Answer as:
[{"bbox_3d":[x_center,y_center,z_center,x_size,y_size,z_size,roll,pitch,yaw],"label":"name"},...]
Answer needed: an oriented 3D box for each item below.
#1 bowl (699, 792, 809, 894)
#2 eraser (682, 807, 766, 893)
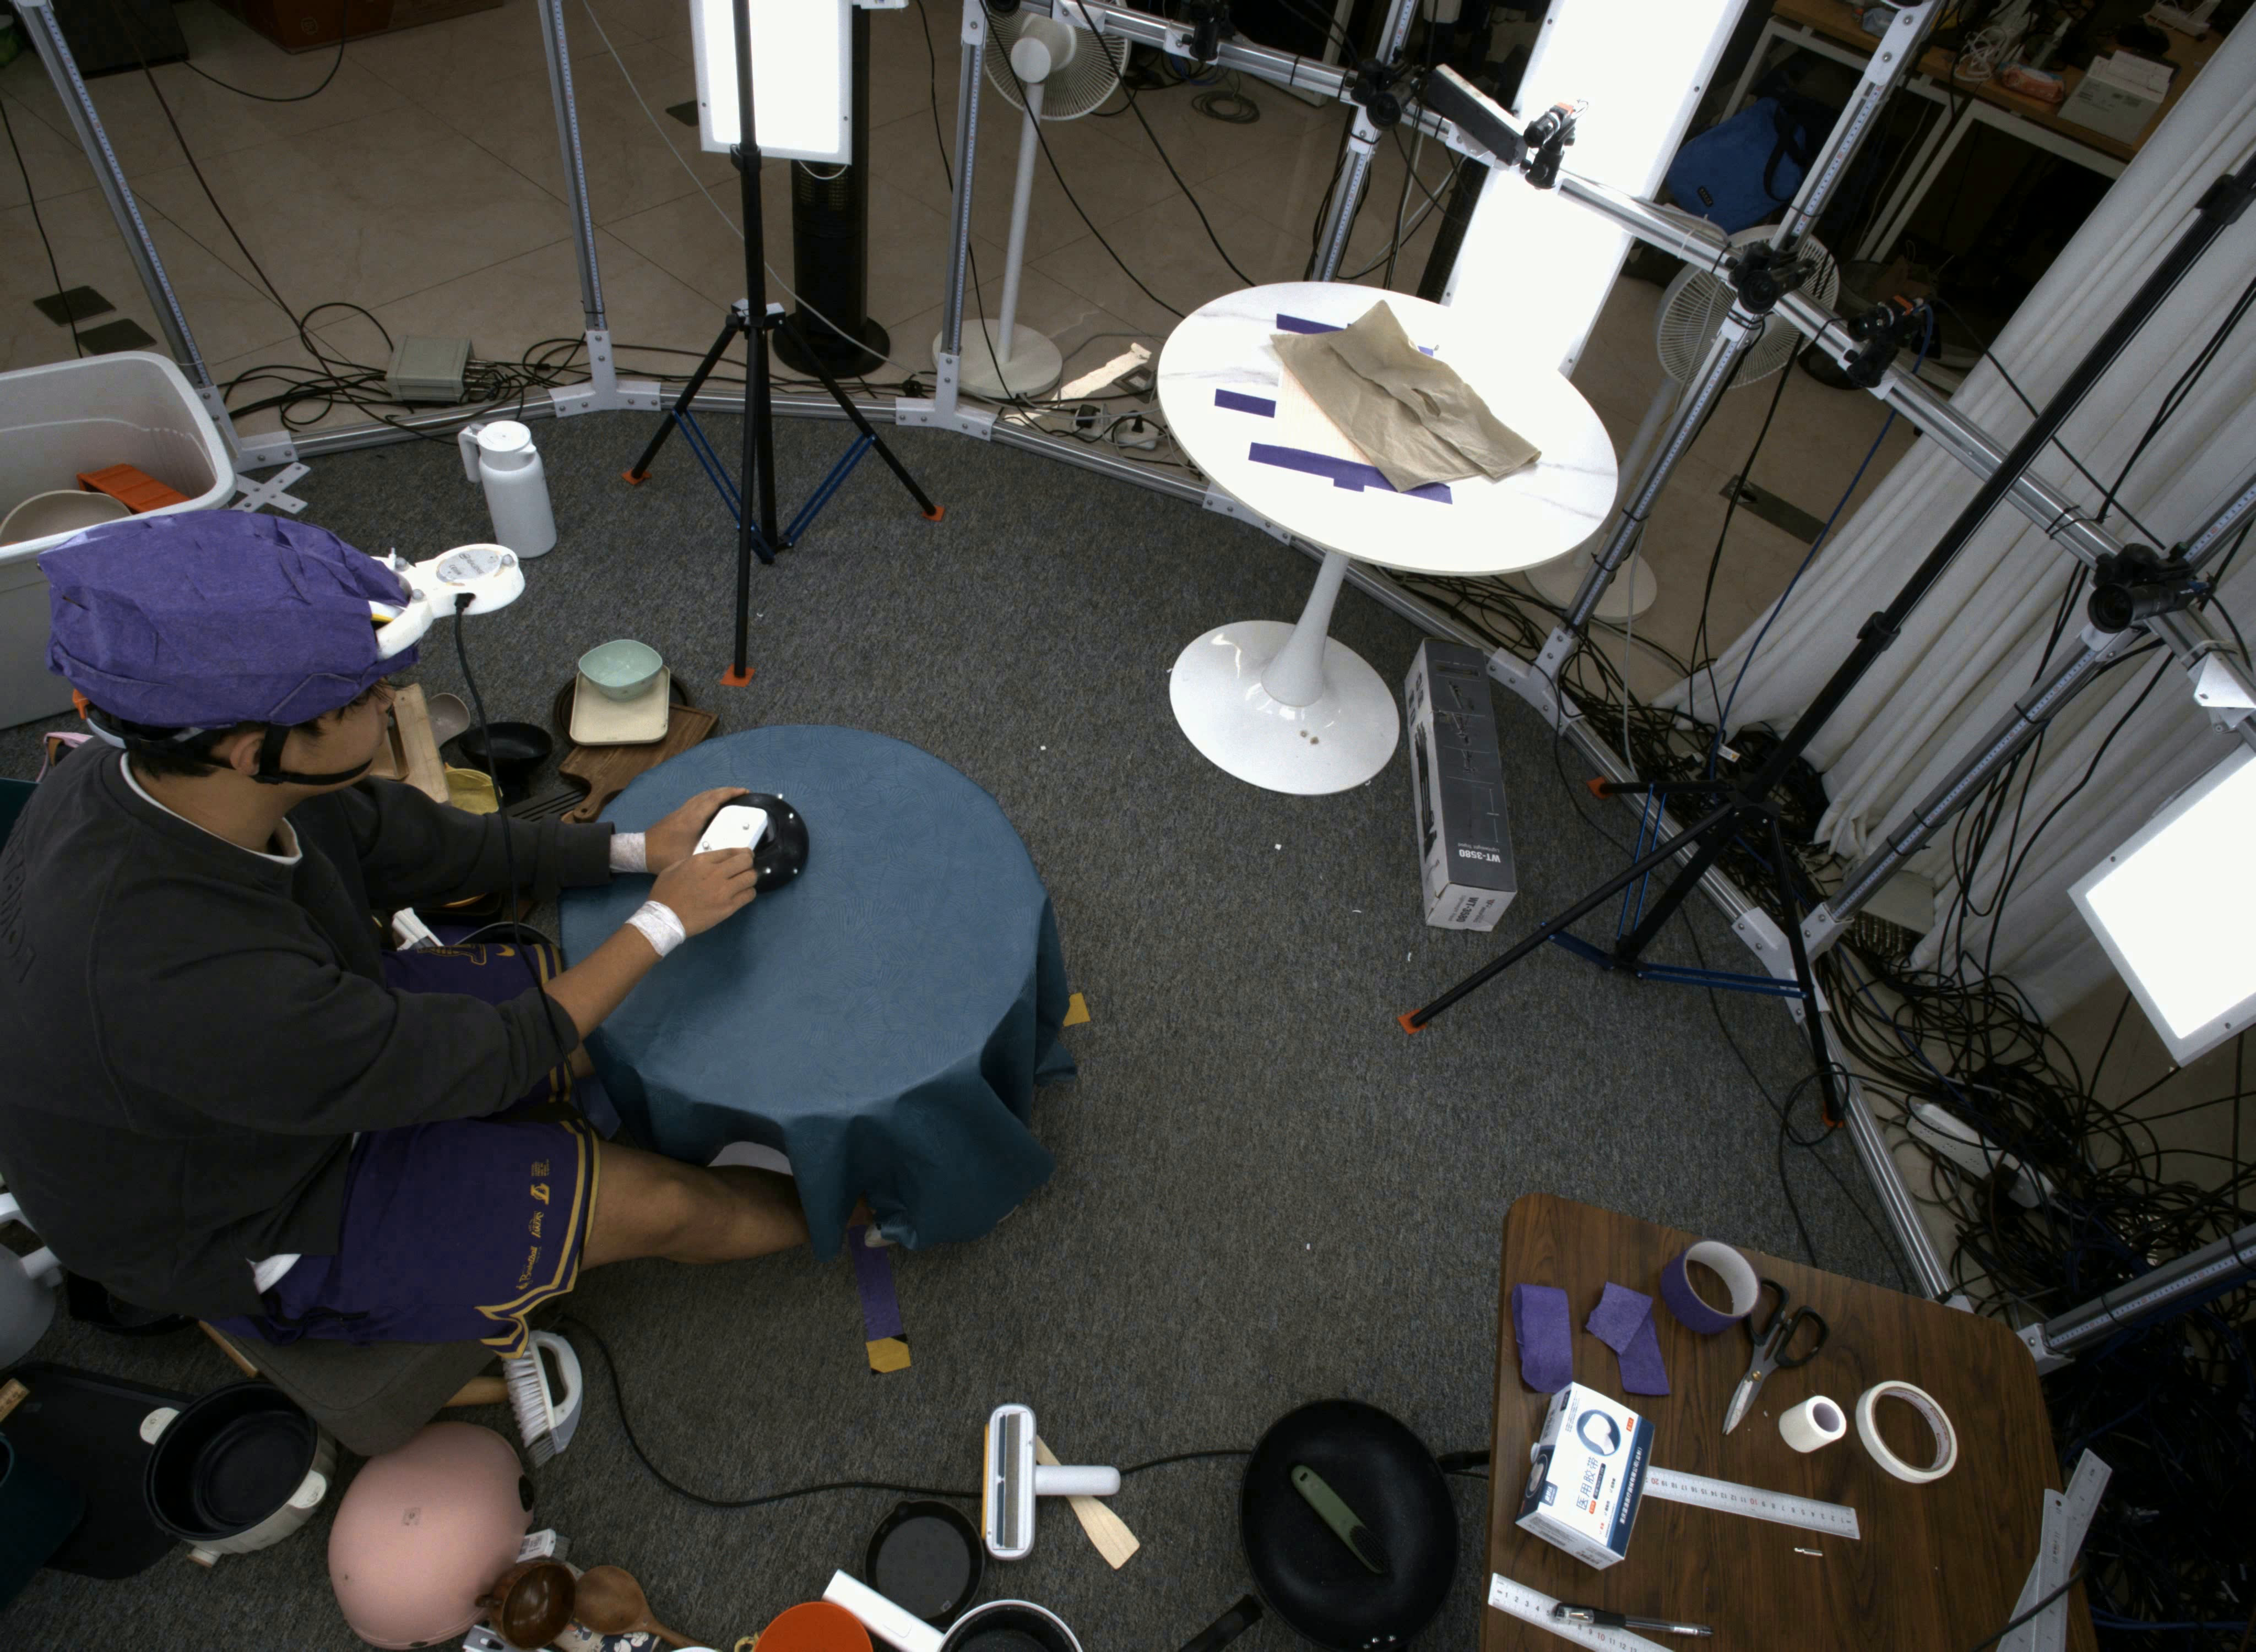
[{"bbox_3d":[-0.479,0.012,1.654,0.140,0.050,0.139,7,66,-13],"label":"bowl"},{"bbox_3d":[-0.494,0.024,1.581,0.062,0.036,0.129,9,44,10],"label":"eraser"}]
